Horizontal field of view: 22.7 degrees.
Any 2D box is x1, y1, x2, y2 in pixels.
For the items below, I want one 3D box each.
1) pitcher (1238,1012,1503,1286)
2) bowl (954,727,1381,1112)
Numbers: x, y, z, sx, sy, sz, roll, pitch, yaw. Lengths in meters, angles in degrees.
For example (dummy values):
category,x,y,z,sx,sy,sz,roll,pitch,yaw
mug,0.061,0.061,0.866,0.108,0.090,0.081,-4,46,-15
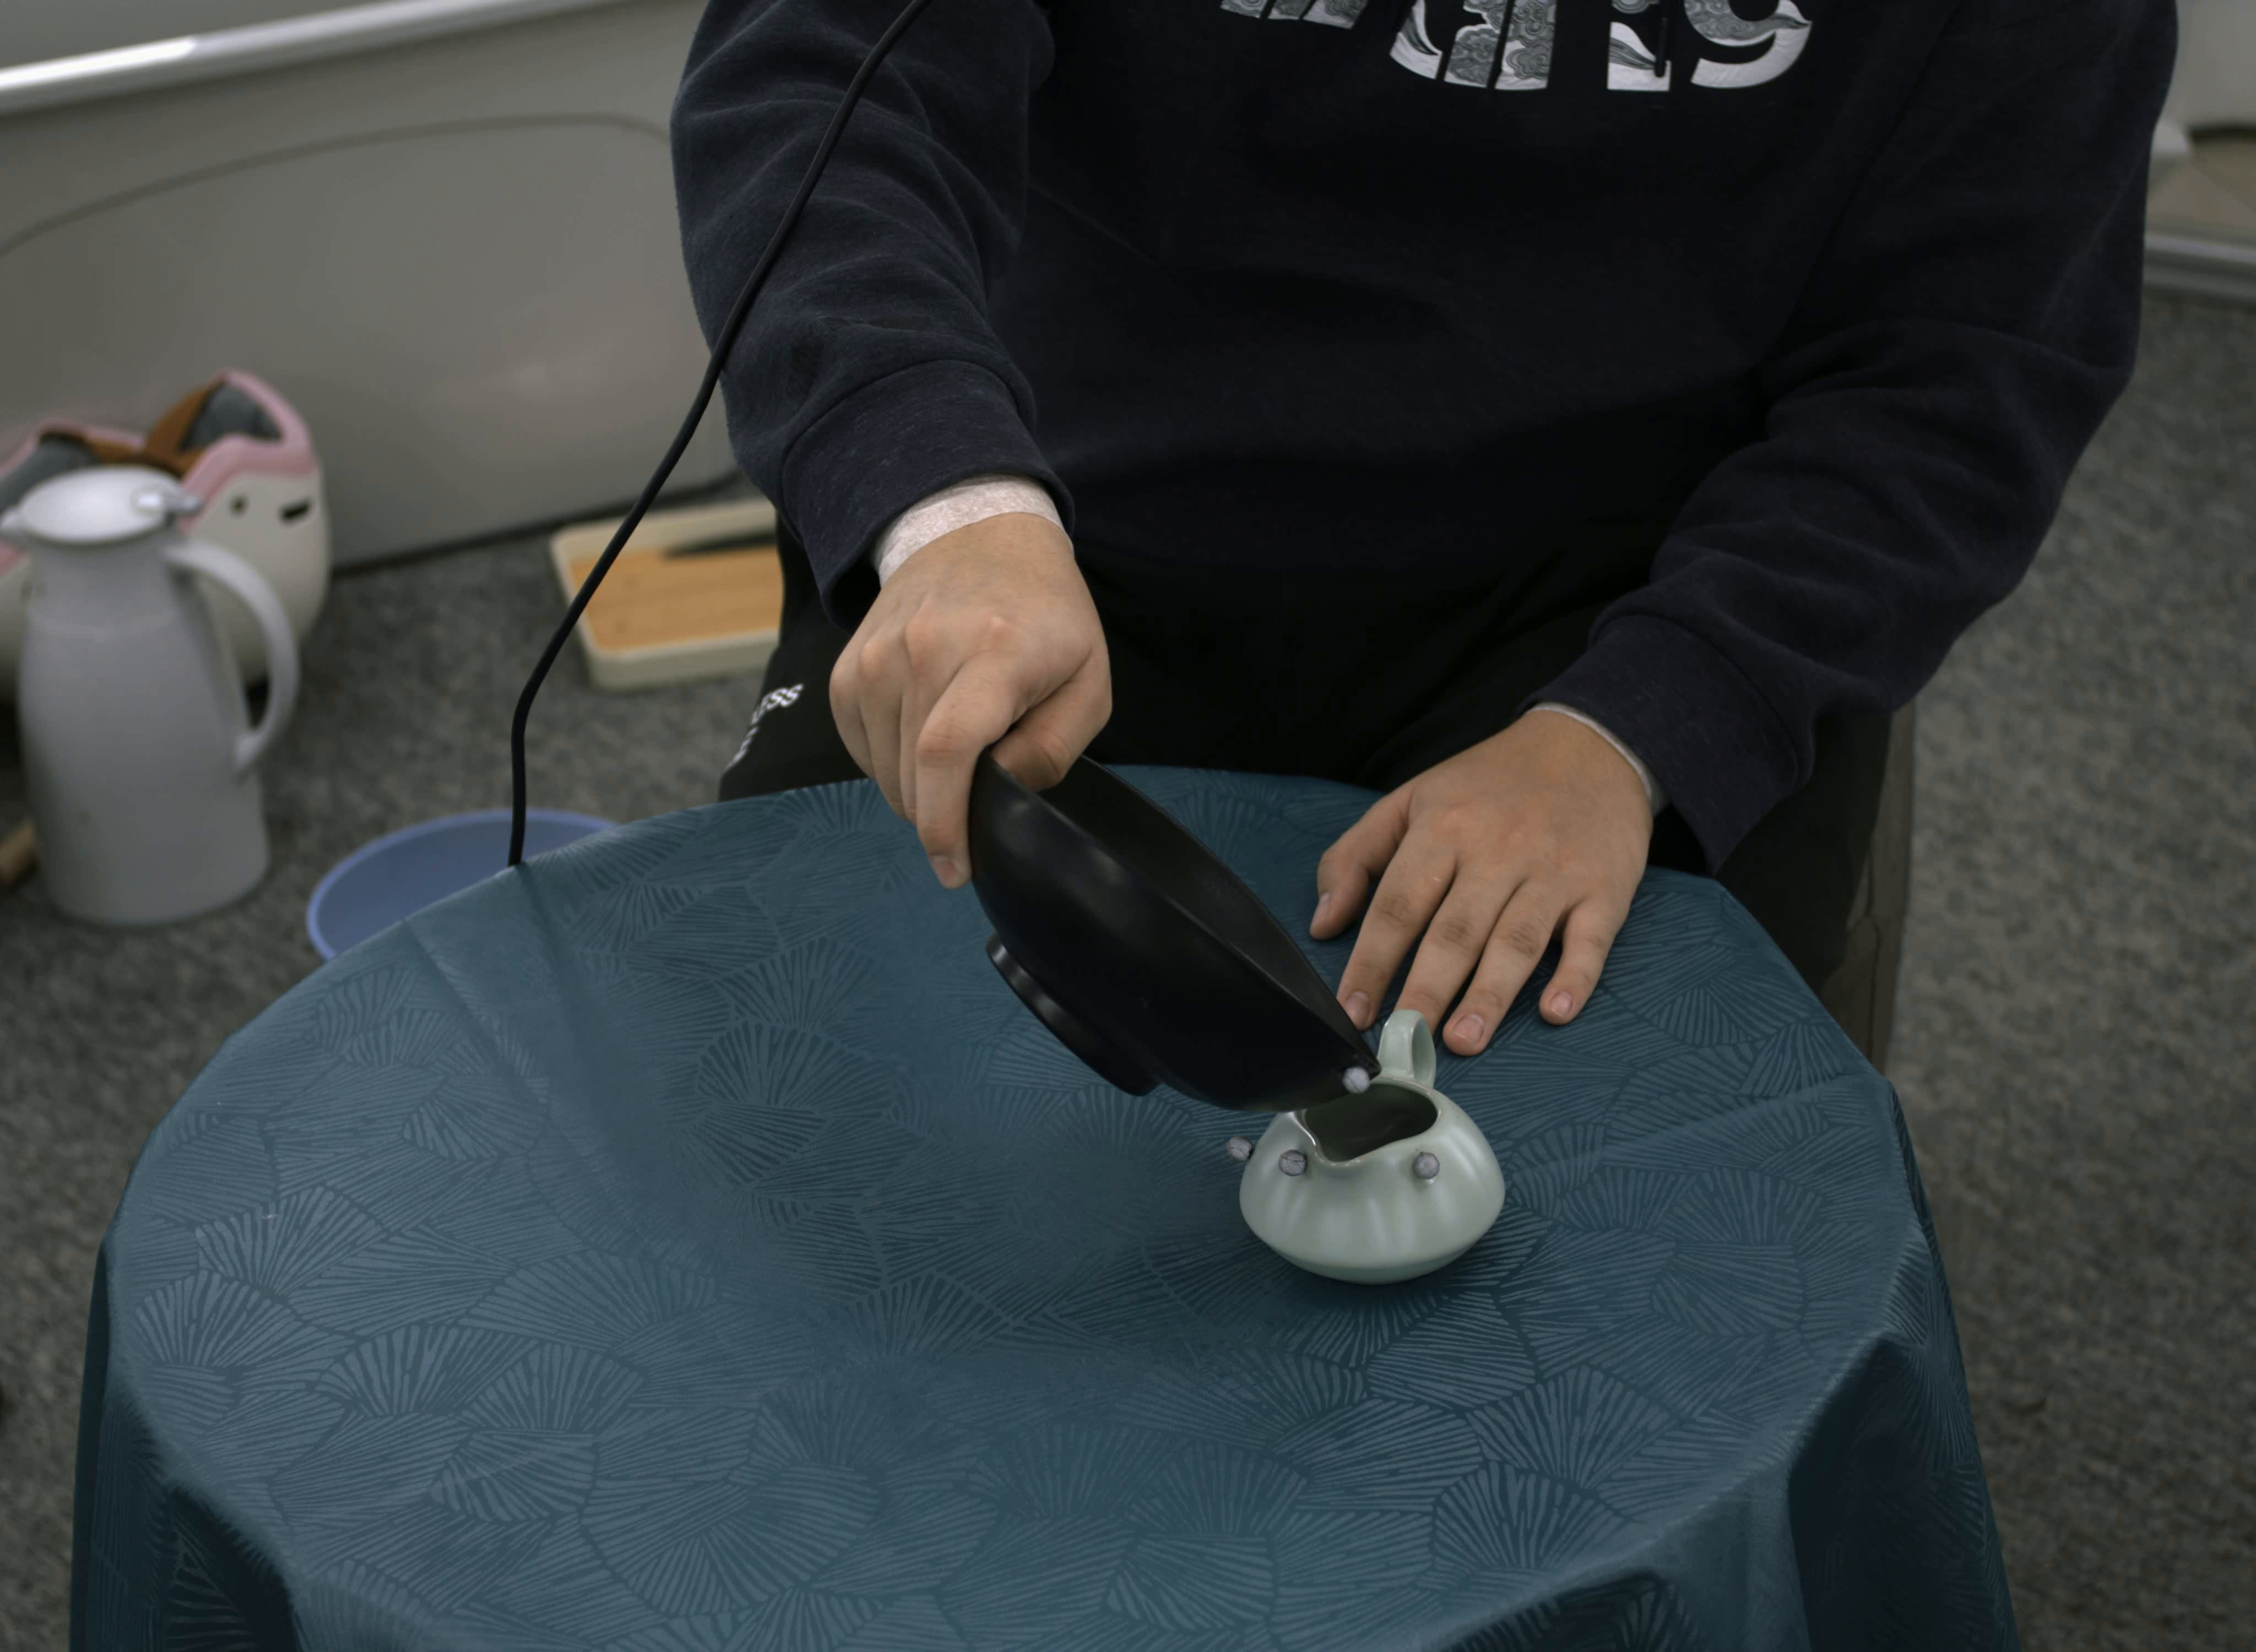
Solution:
category,x,y,z,sx,sy,sz,roll,pitch,yaw
pitcher,0.081,0.106,1.827,0.085,0.060,0.110,5,27,14
bowl,0.002,0.040,1.765,0.066,0.169,0.138,-47,23,7
